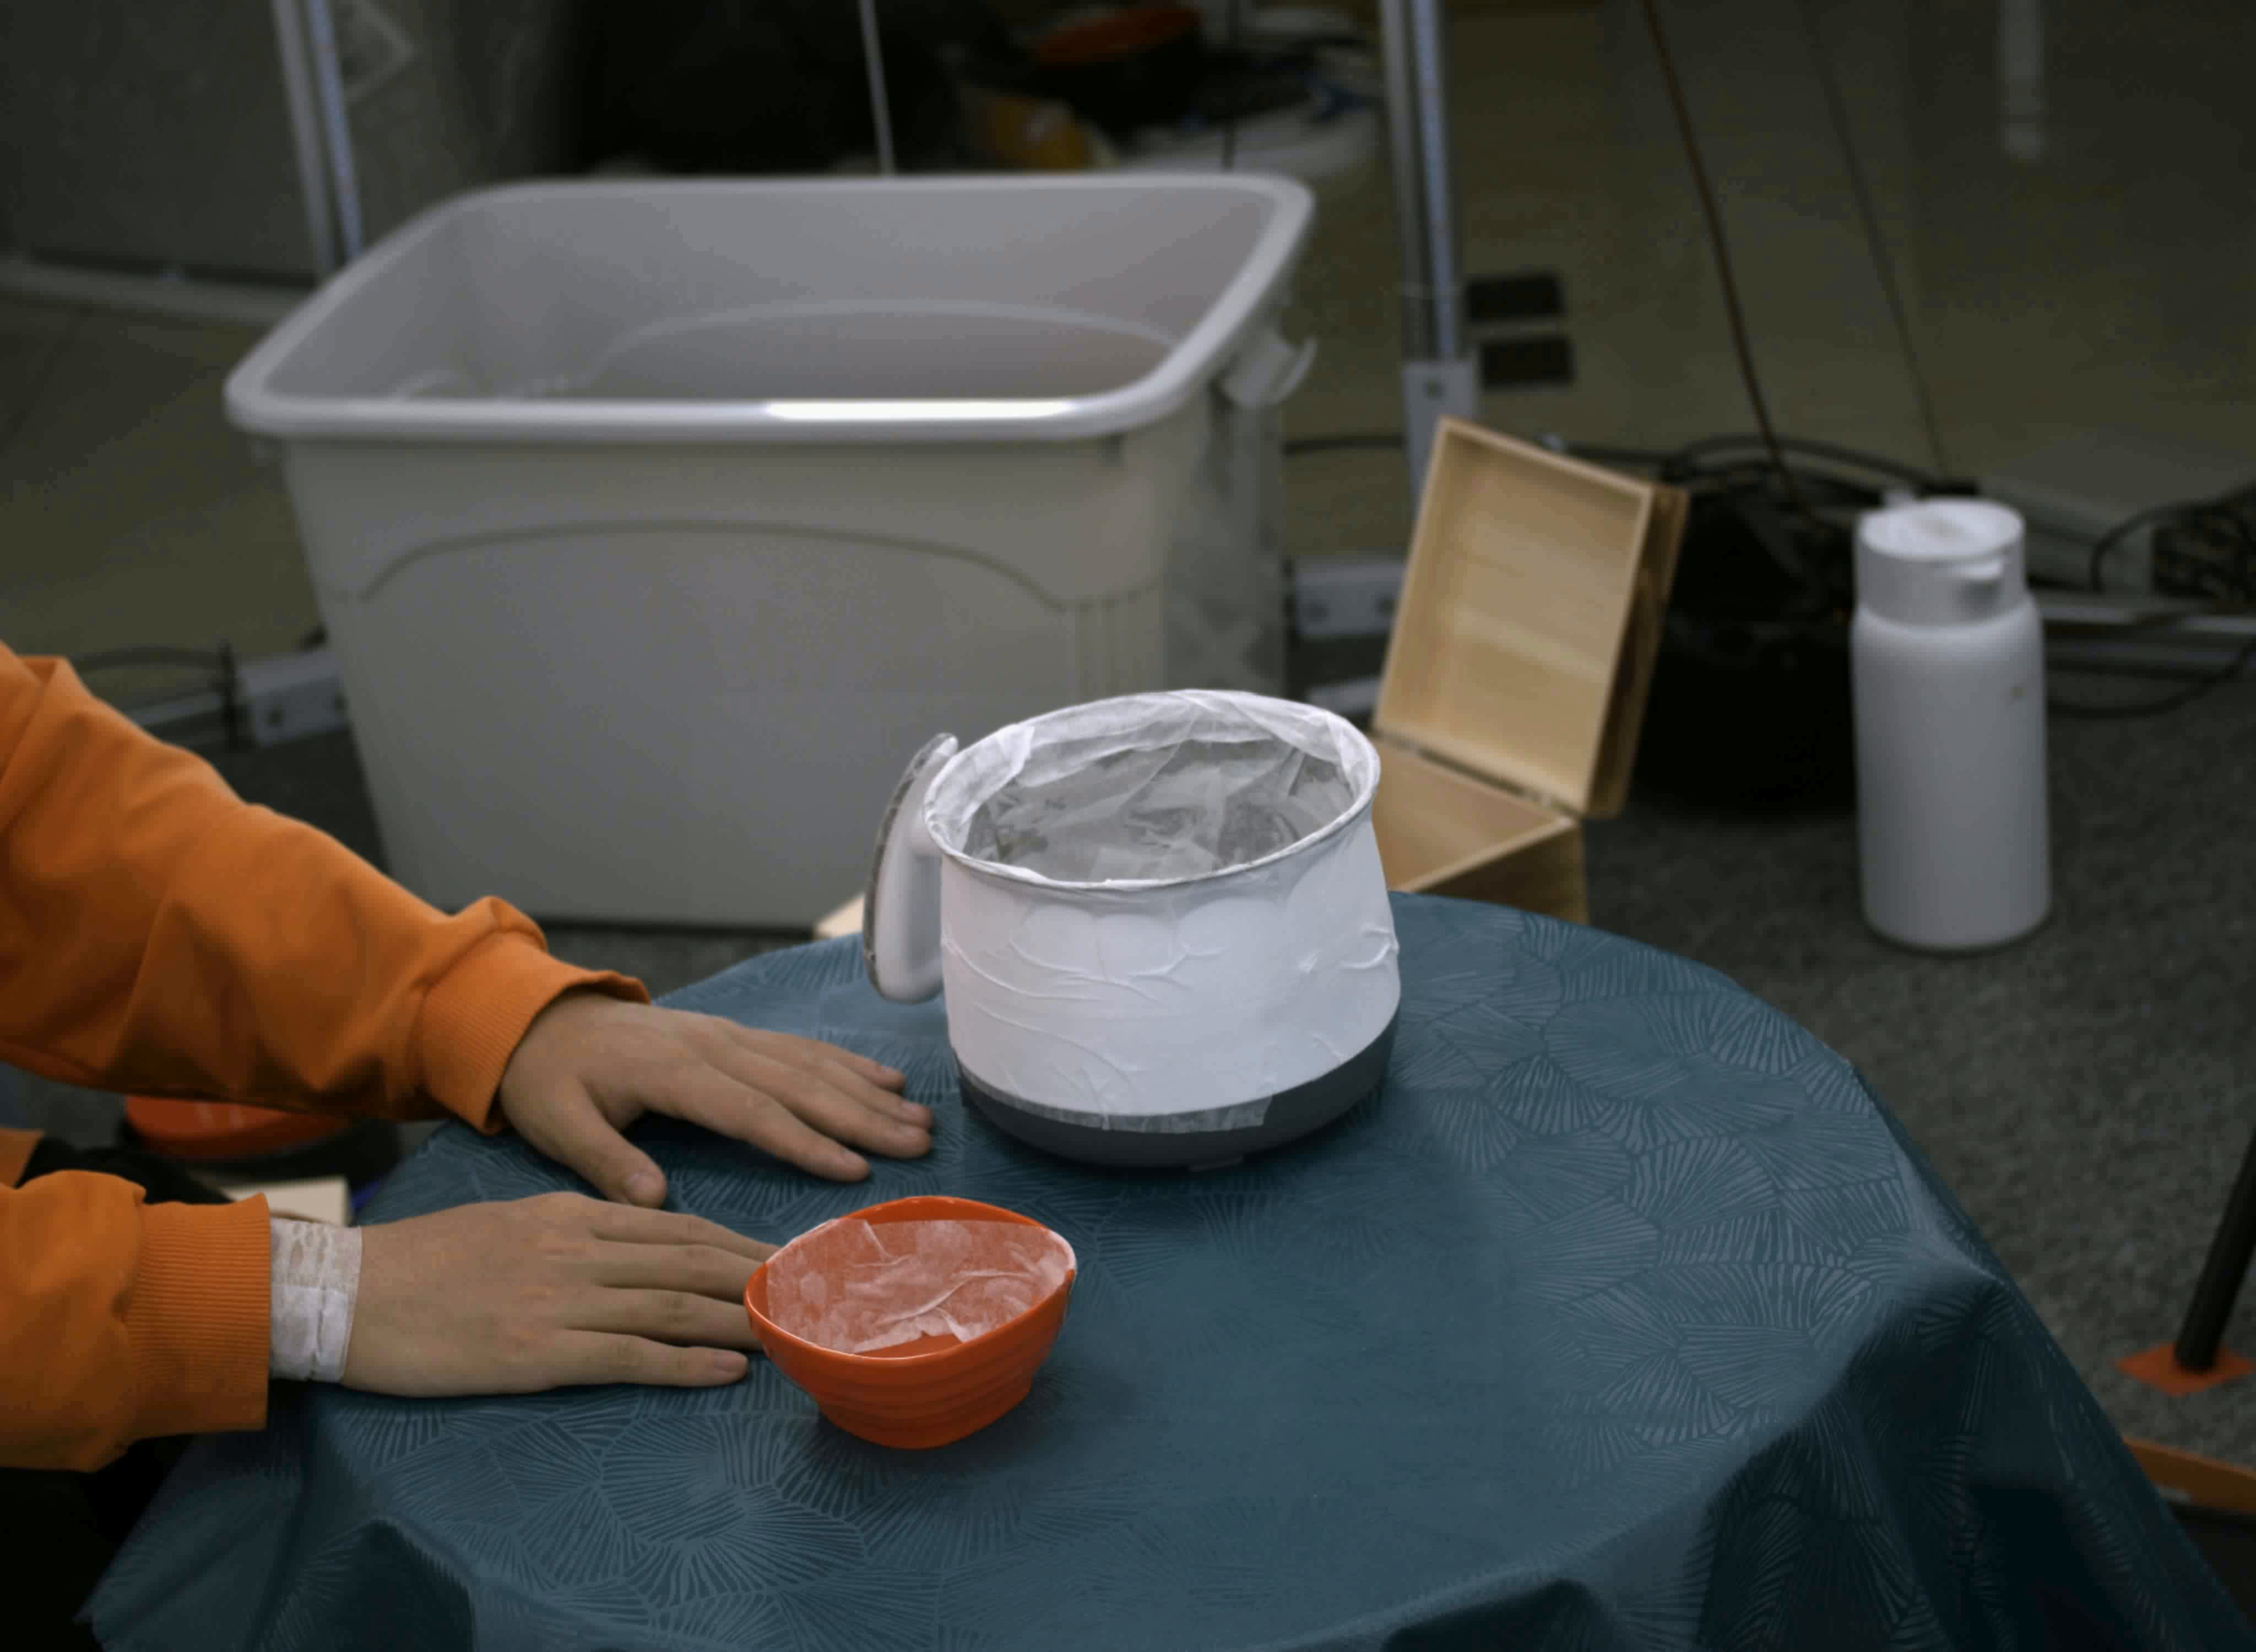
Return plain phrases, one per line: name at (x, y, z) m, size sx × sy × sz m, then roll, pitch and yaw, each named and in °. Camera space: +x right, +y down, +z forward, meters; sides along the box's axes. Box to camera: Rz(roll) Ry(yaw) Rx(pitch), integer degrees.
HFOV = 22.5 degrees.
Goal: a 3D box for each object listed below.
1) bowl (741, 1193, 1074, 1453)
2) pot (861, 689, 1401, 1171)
bowl at (-0.076, 0.181, 2.015) m, size 0.119 × 0.052 × 0.117 m, roll -5°, pitch 27°, yaw 3°
pot at (-0.008, 0.037, 2.202) m, size 0.232 × 0.139 × 0.177 m, roll 11°, pitch 30°, yaw 32°
